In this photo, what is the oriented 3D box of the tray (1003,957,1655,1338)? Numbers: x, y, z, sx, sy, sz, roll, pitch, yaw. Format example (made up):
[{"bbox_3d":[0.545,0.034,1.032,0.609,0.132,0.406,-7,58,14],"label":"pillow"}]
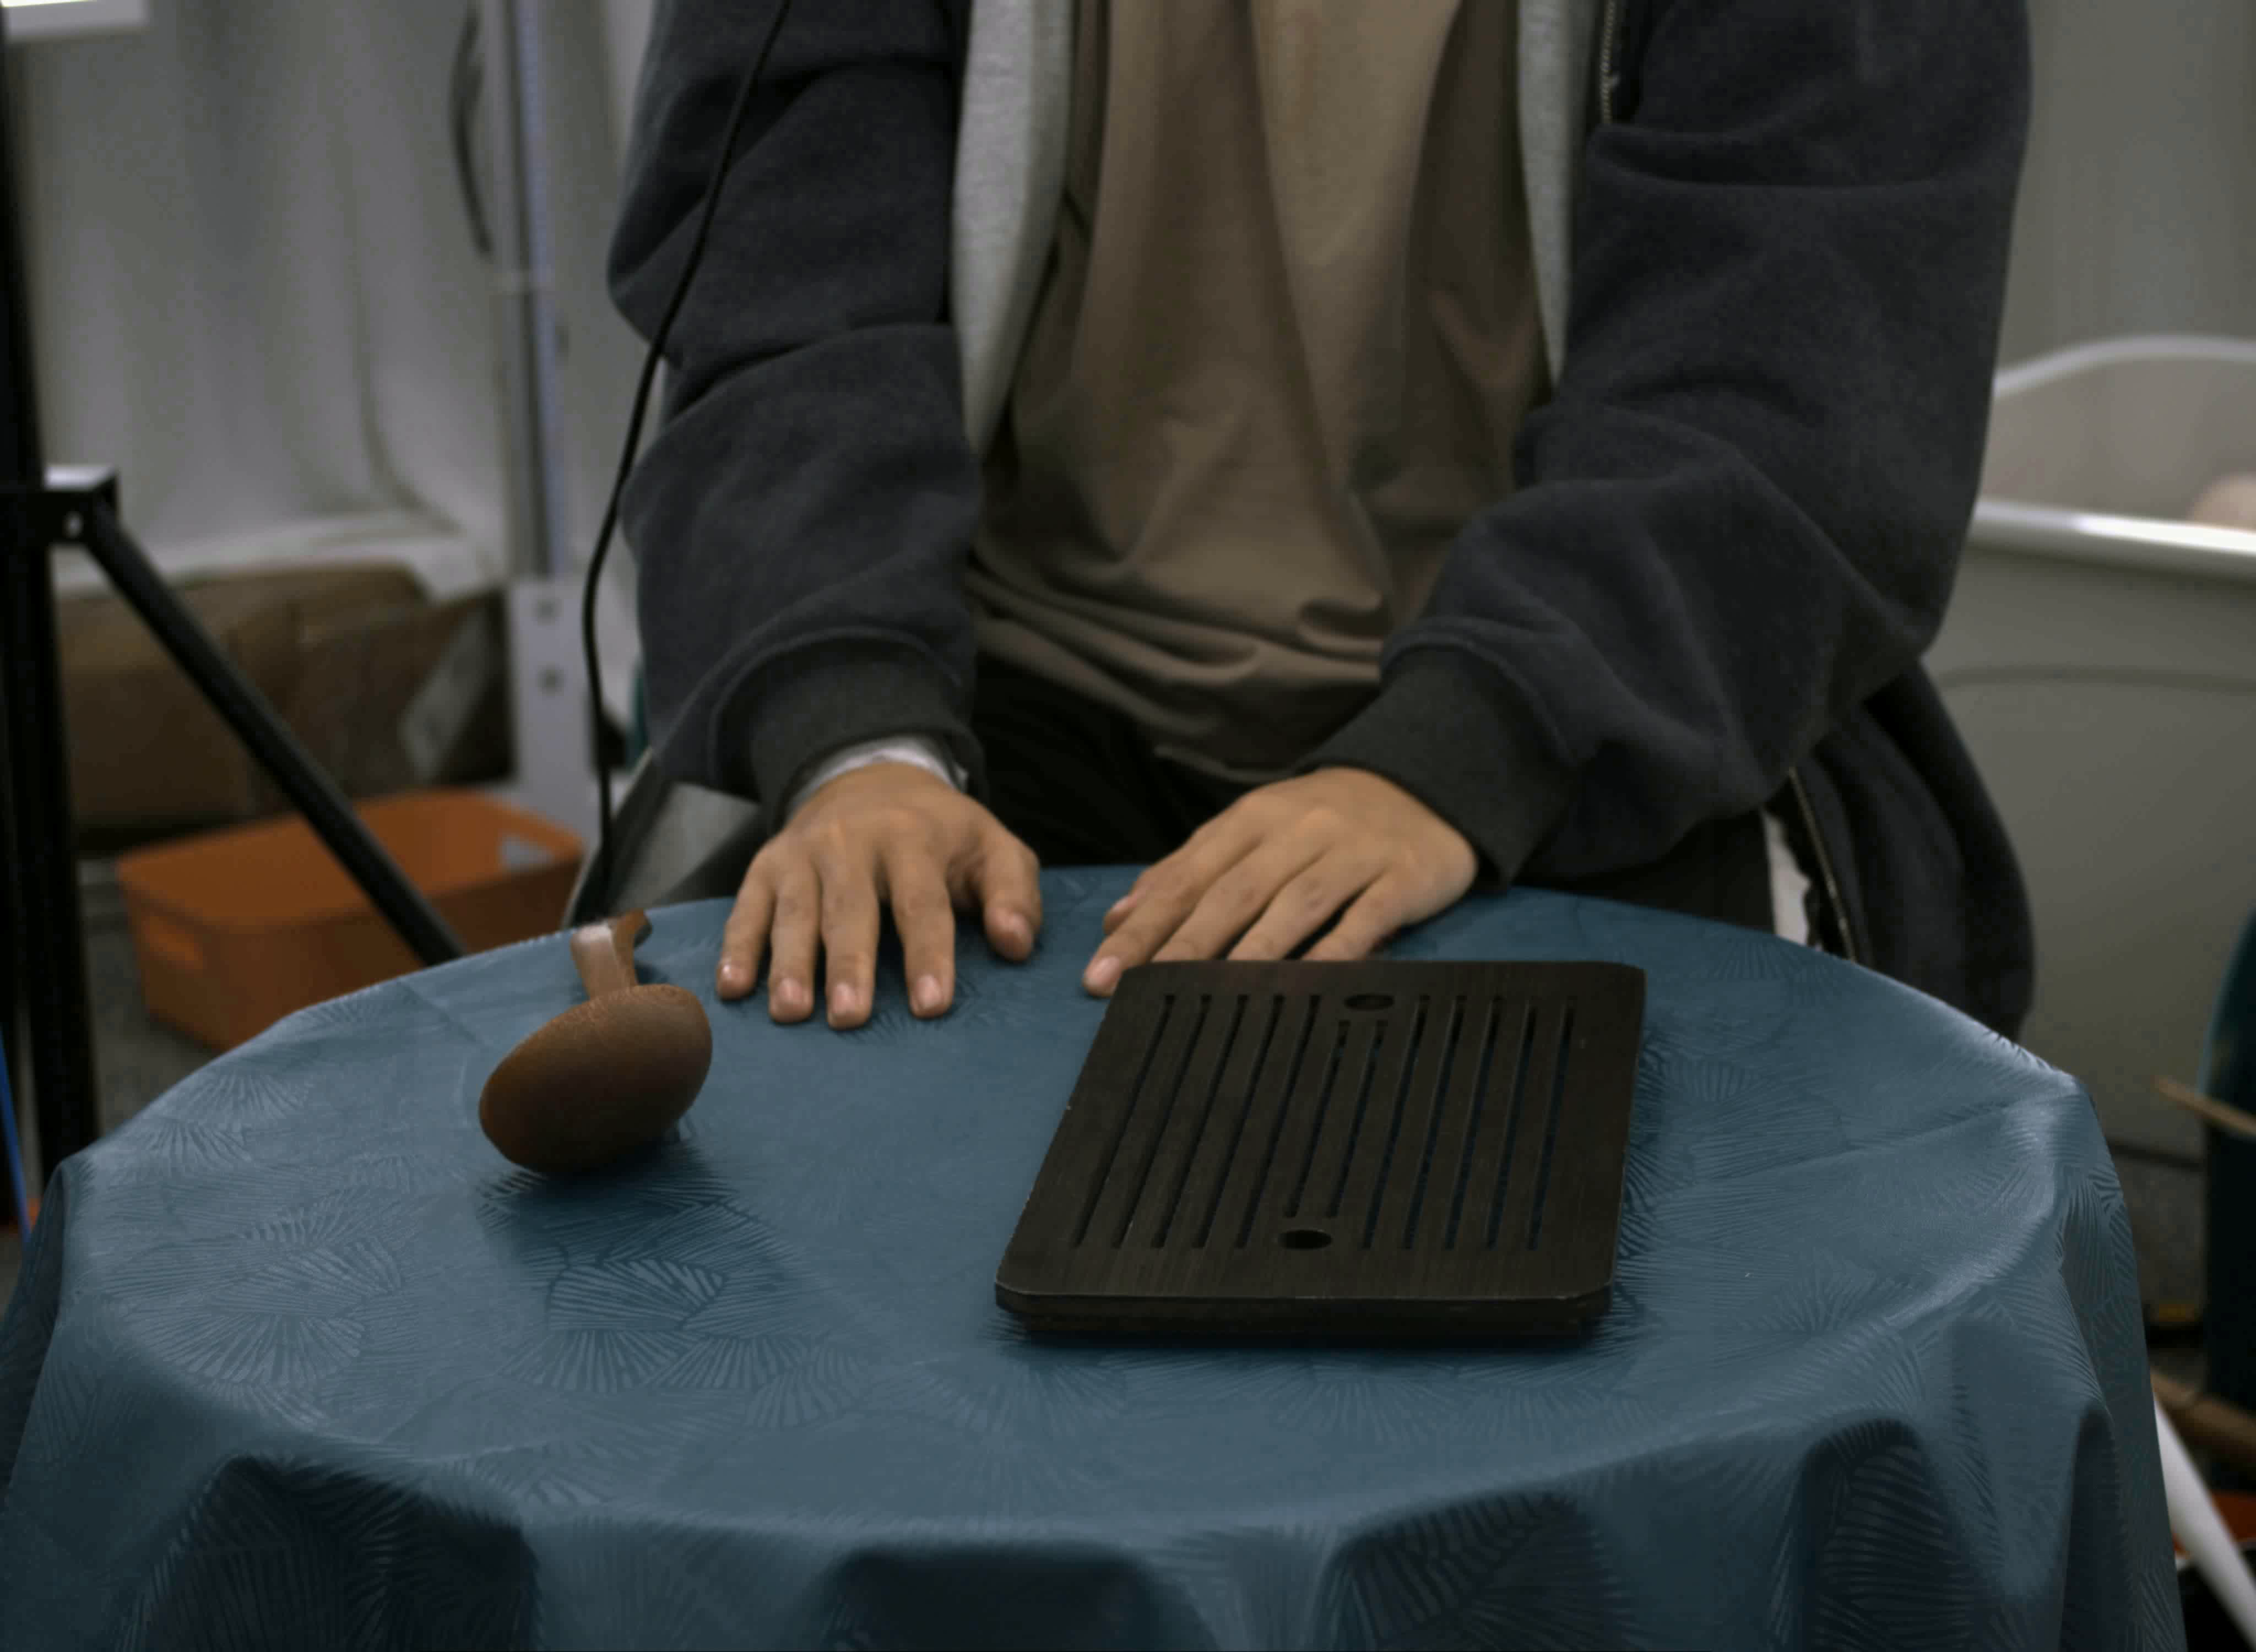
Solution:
[{"bbox_3d":[0.067,0.093,1.570,0.170,0.018,0.305,0,16,8],"label":"tray"}]

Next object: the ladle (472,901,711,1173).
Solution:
[{"bbox_3d":[-0.169,0.049,1.683,0.076,0.064,0.262,-29,17,2],"label":"ladle"}]
